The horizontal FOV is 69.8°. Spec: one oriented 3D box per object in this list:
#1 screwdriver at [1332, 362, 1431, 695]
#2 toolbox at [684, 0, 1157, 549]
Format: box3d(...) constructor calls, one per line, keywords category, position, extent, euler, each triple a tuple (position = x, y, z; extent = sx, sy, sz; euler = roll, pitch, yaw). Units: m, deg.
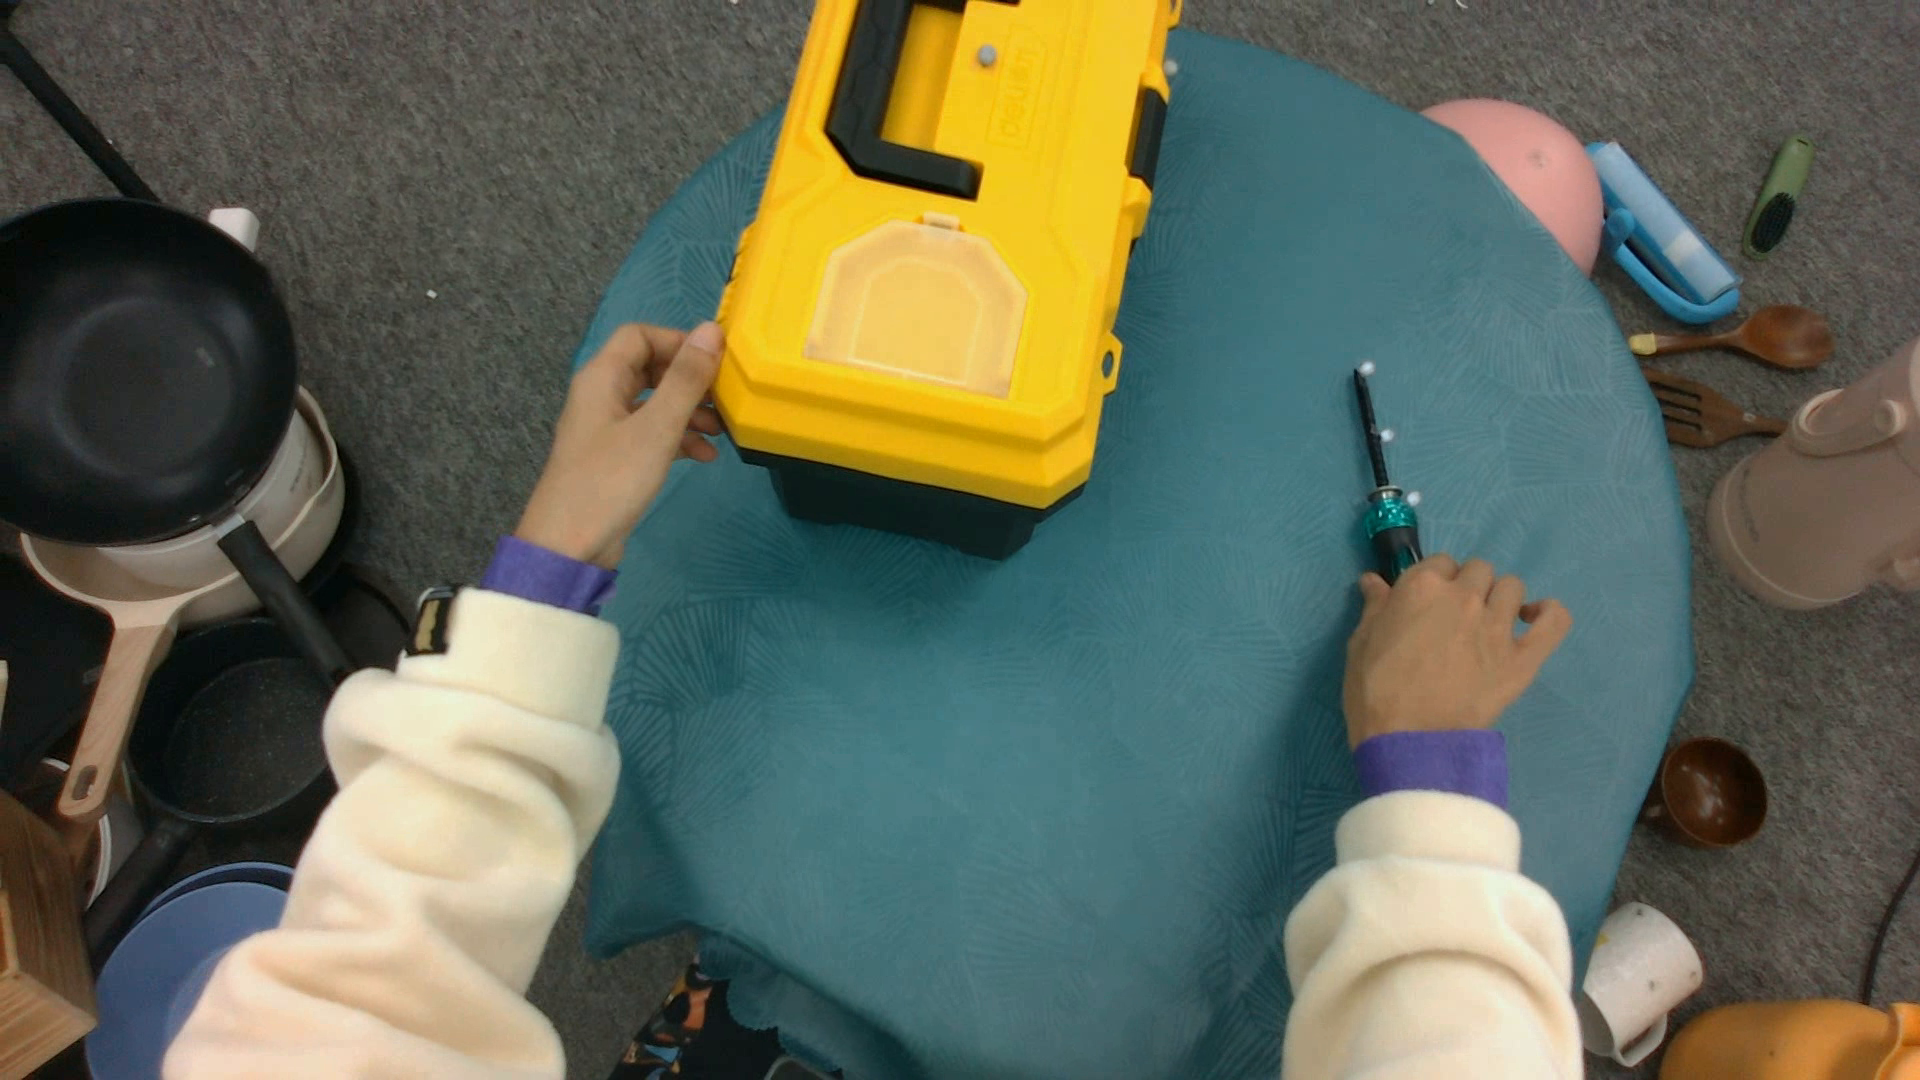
box3d(category="screwdriver", position=(0.212, -0.012, 0.715), extent=(0.034, 0.033, 0.190), euler=(-2, 63, -5))
box3d(category="toolbox", position=(-0.009, -0.178, 0.681), extent=(0.181, 0.172, 0.352), euler=(12, 68, 0))
